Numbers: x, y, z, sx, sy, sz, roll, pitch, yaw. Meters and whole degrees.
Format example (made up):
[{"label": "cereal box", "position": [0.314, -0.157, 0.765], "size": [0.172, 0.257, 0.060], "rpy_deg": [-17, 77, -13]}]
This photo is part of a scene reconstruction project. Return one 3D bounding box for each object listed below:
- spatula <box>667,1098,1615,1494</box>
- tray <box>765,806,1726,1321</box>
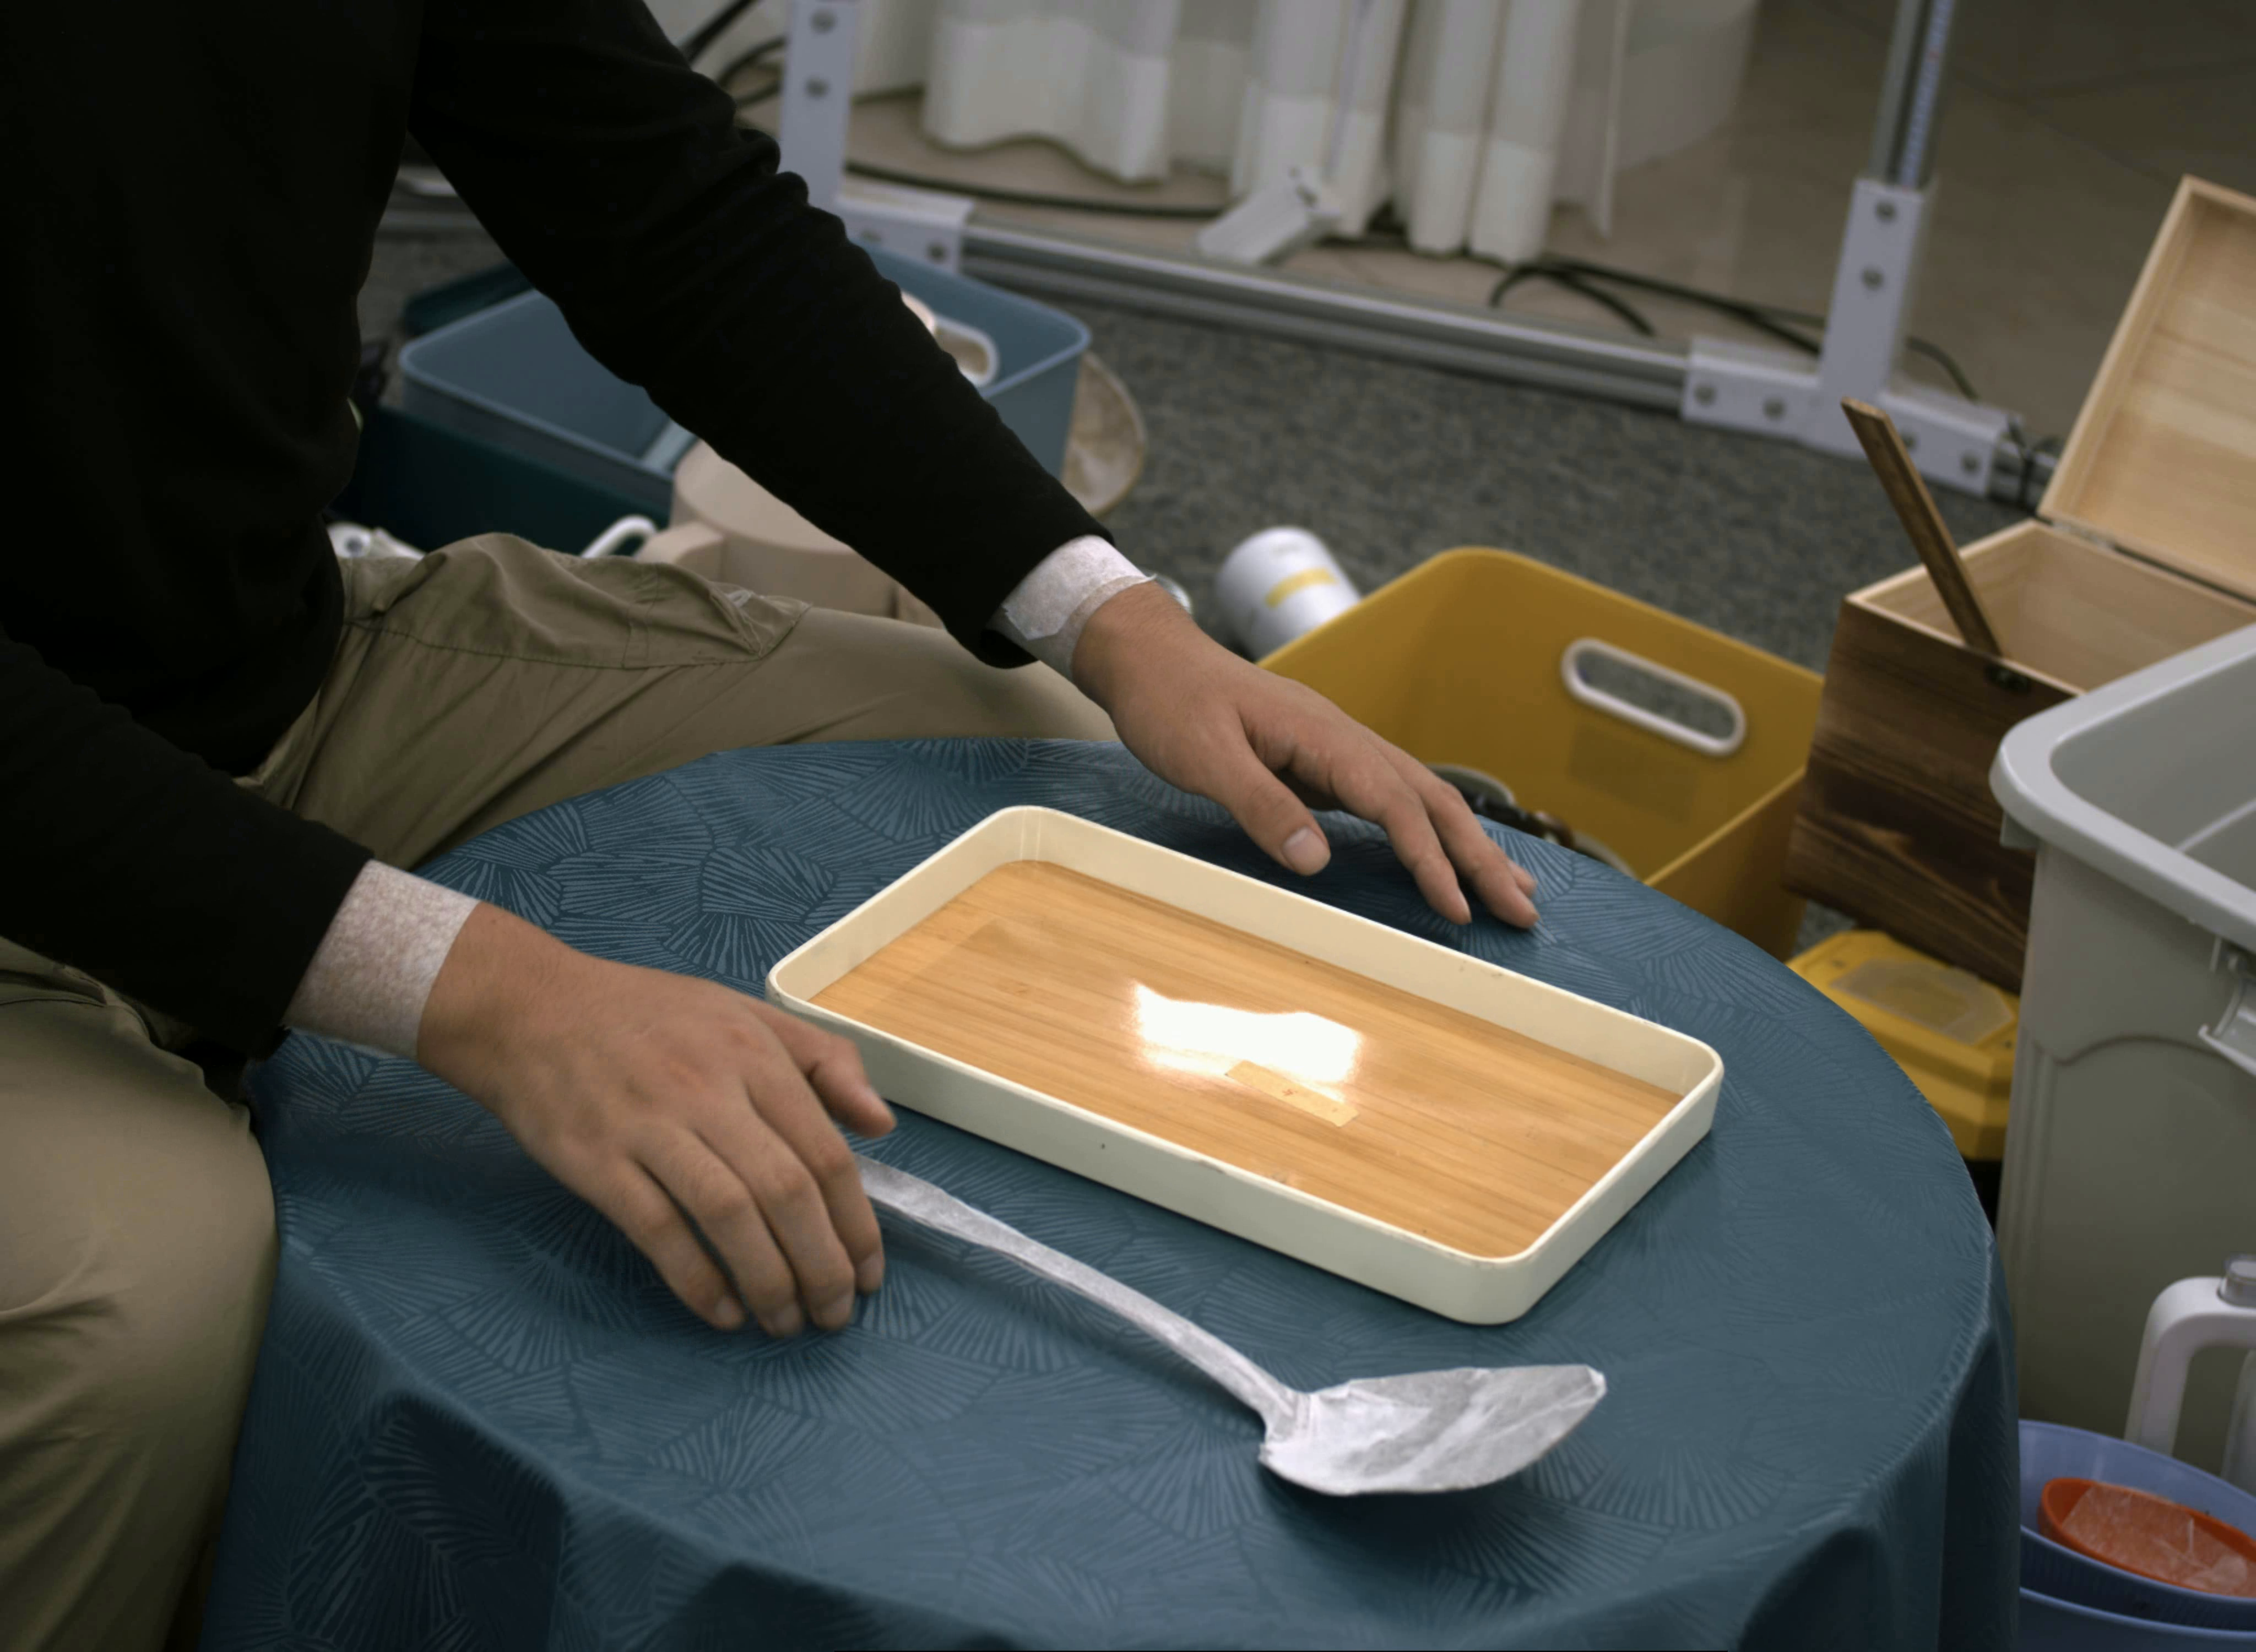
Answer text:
[{"label": "spatula", "position": [-0.014, 0.143, 1.719], "size": [0.367, 0.044, 0.098], "rpy_deg": [23, 32, 29]}, {"label": "tray", "position": [0.041, 0.079, 1.870], "size": [0.301, 0.027, 0.191], "rpy_deg": [20, 30, 24]}]
